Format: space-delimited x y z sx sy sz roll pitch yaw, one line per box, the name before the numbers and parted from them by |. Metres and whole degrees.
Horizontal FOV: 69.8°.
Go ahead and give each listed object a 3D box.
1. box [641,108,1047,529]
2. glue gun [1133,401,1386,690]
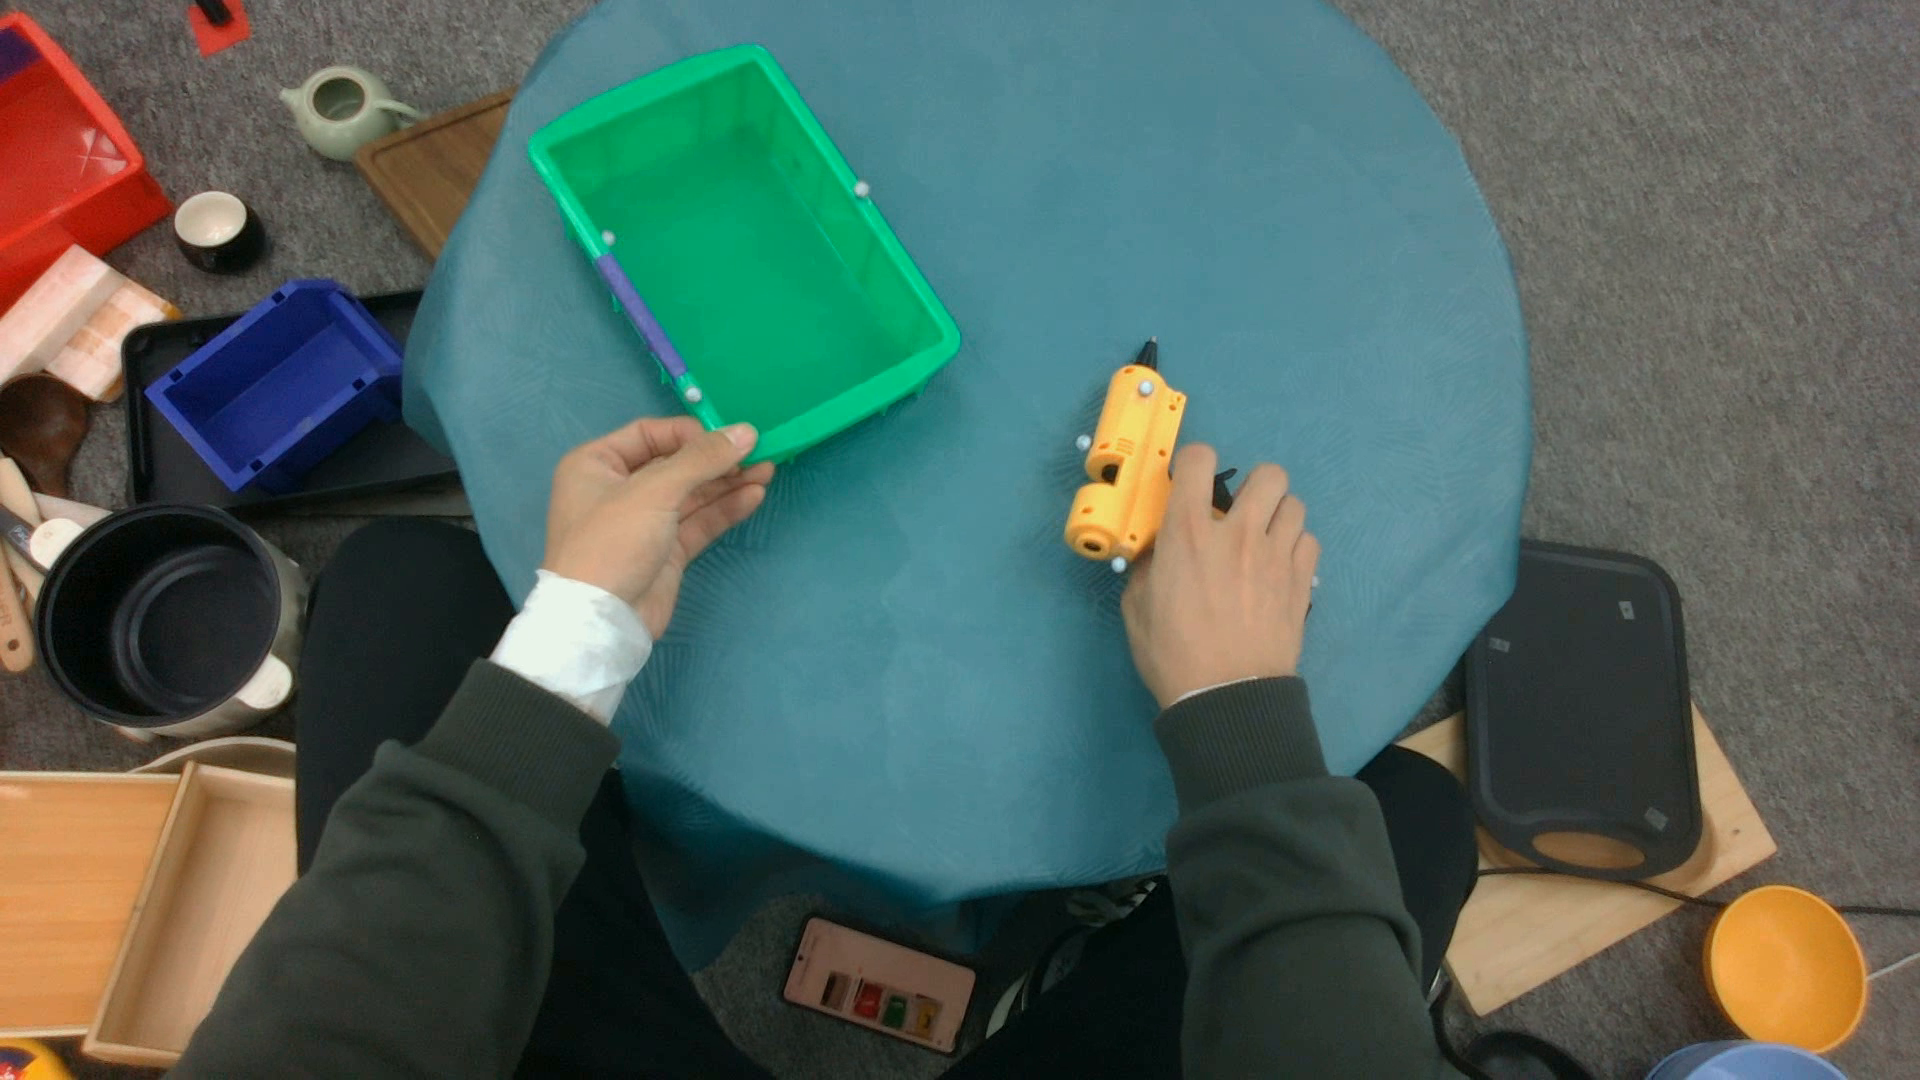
box | -0.064 -0.114 0.735 0.139 0.065 0.210 -29 79 -16
glue gun | 0.168 -0.005 0.734 0.133 0.031 0.152 21 55 -3
